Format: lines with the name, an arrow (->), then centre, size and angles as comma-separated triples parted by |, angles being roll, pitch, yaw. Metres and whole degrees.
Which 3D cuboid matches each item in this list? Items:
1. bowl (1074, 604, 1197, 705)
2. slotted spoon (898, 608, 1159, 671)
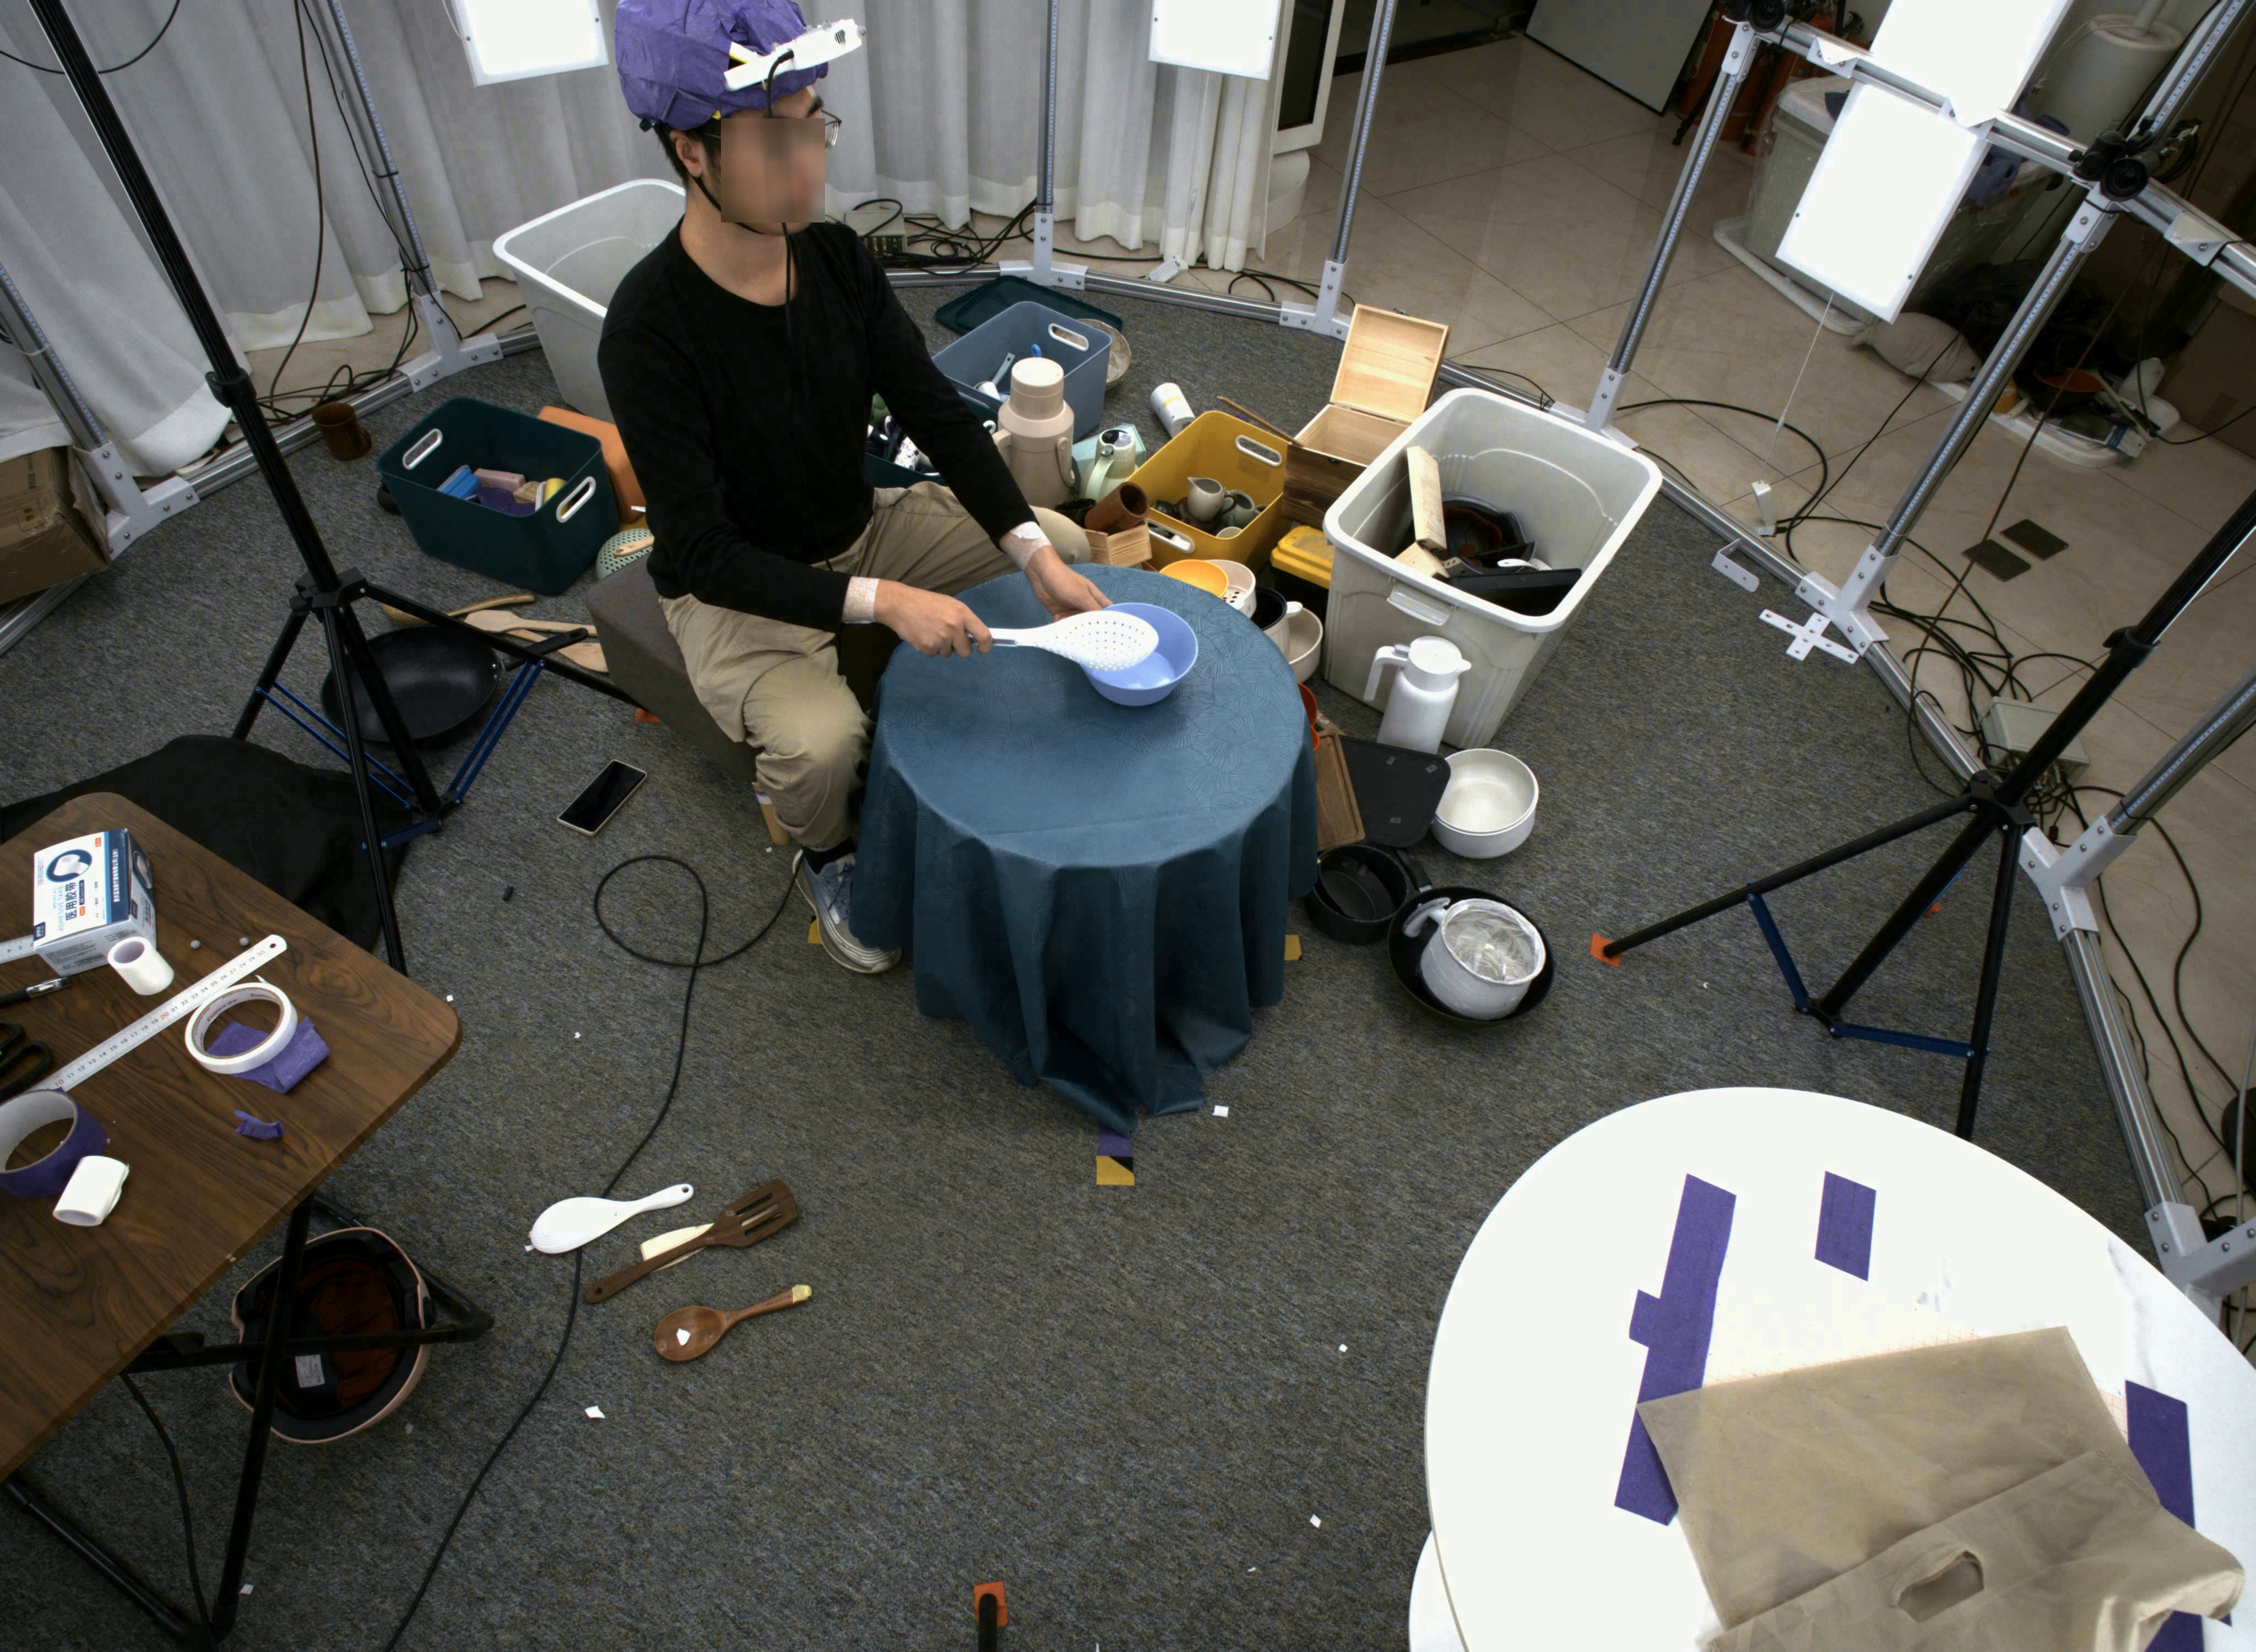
bowl -> 0.009, -0.235, 1.829 | 0.176, 0.068, 0.180 | 1, 49, -1
slotted spoon -> -0.134, -0.254, 1.731 | 0.350, 0.133, 0.046 | 7, 66, 4
